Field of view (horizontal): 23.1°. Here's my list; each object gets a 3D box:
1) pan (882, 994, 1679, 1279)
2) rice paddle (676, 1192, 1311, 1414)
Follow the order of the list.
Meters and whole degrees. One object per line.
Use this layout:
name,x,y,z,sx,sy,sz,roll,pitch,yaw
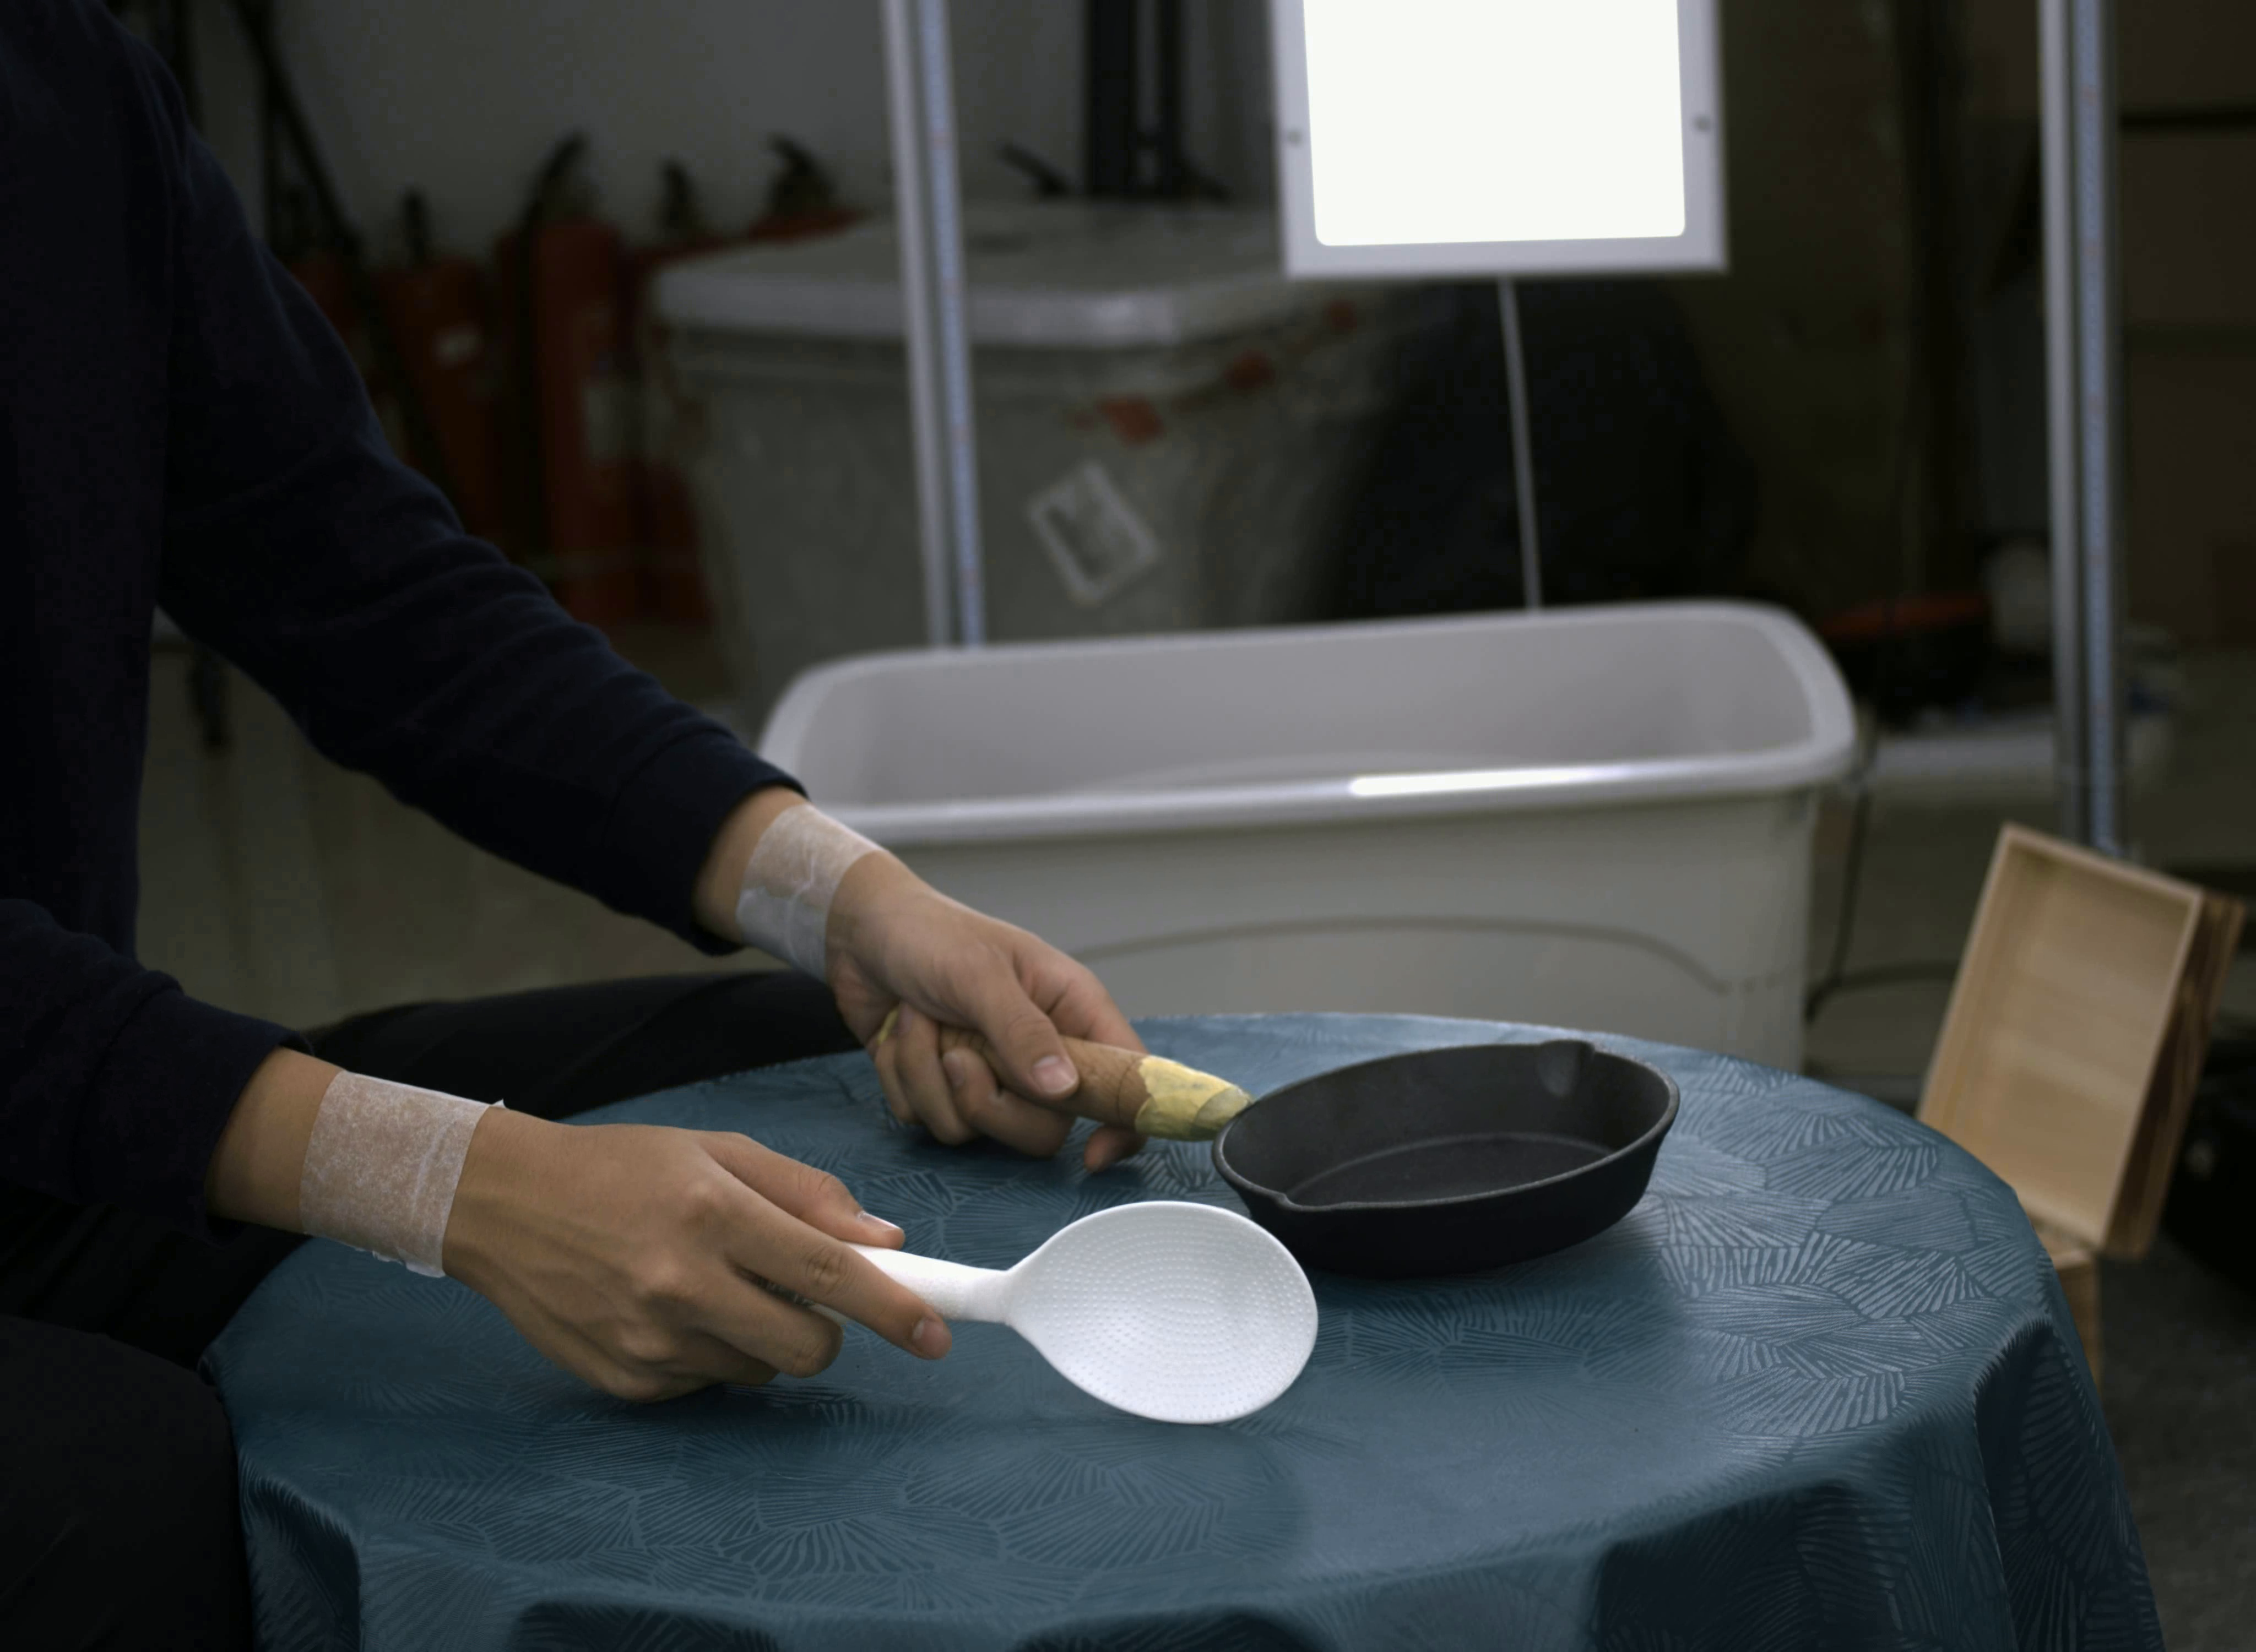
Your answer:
pan,0.042,0.099,1.884,0.331,0.050,0.165,7,22,41
rice paddle,-0.041,0.142,1.689,0.208,0.069,0.029,2,10,24
